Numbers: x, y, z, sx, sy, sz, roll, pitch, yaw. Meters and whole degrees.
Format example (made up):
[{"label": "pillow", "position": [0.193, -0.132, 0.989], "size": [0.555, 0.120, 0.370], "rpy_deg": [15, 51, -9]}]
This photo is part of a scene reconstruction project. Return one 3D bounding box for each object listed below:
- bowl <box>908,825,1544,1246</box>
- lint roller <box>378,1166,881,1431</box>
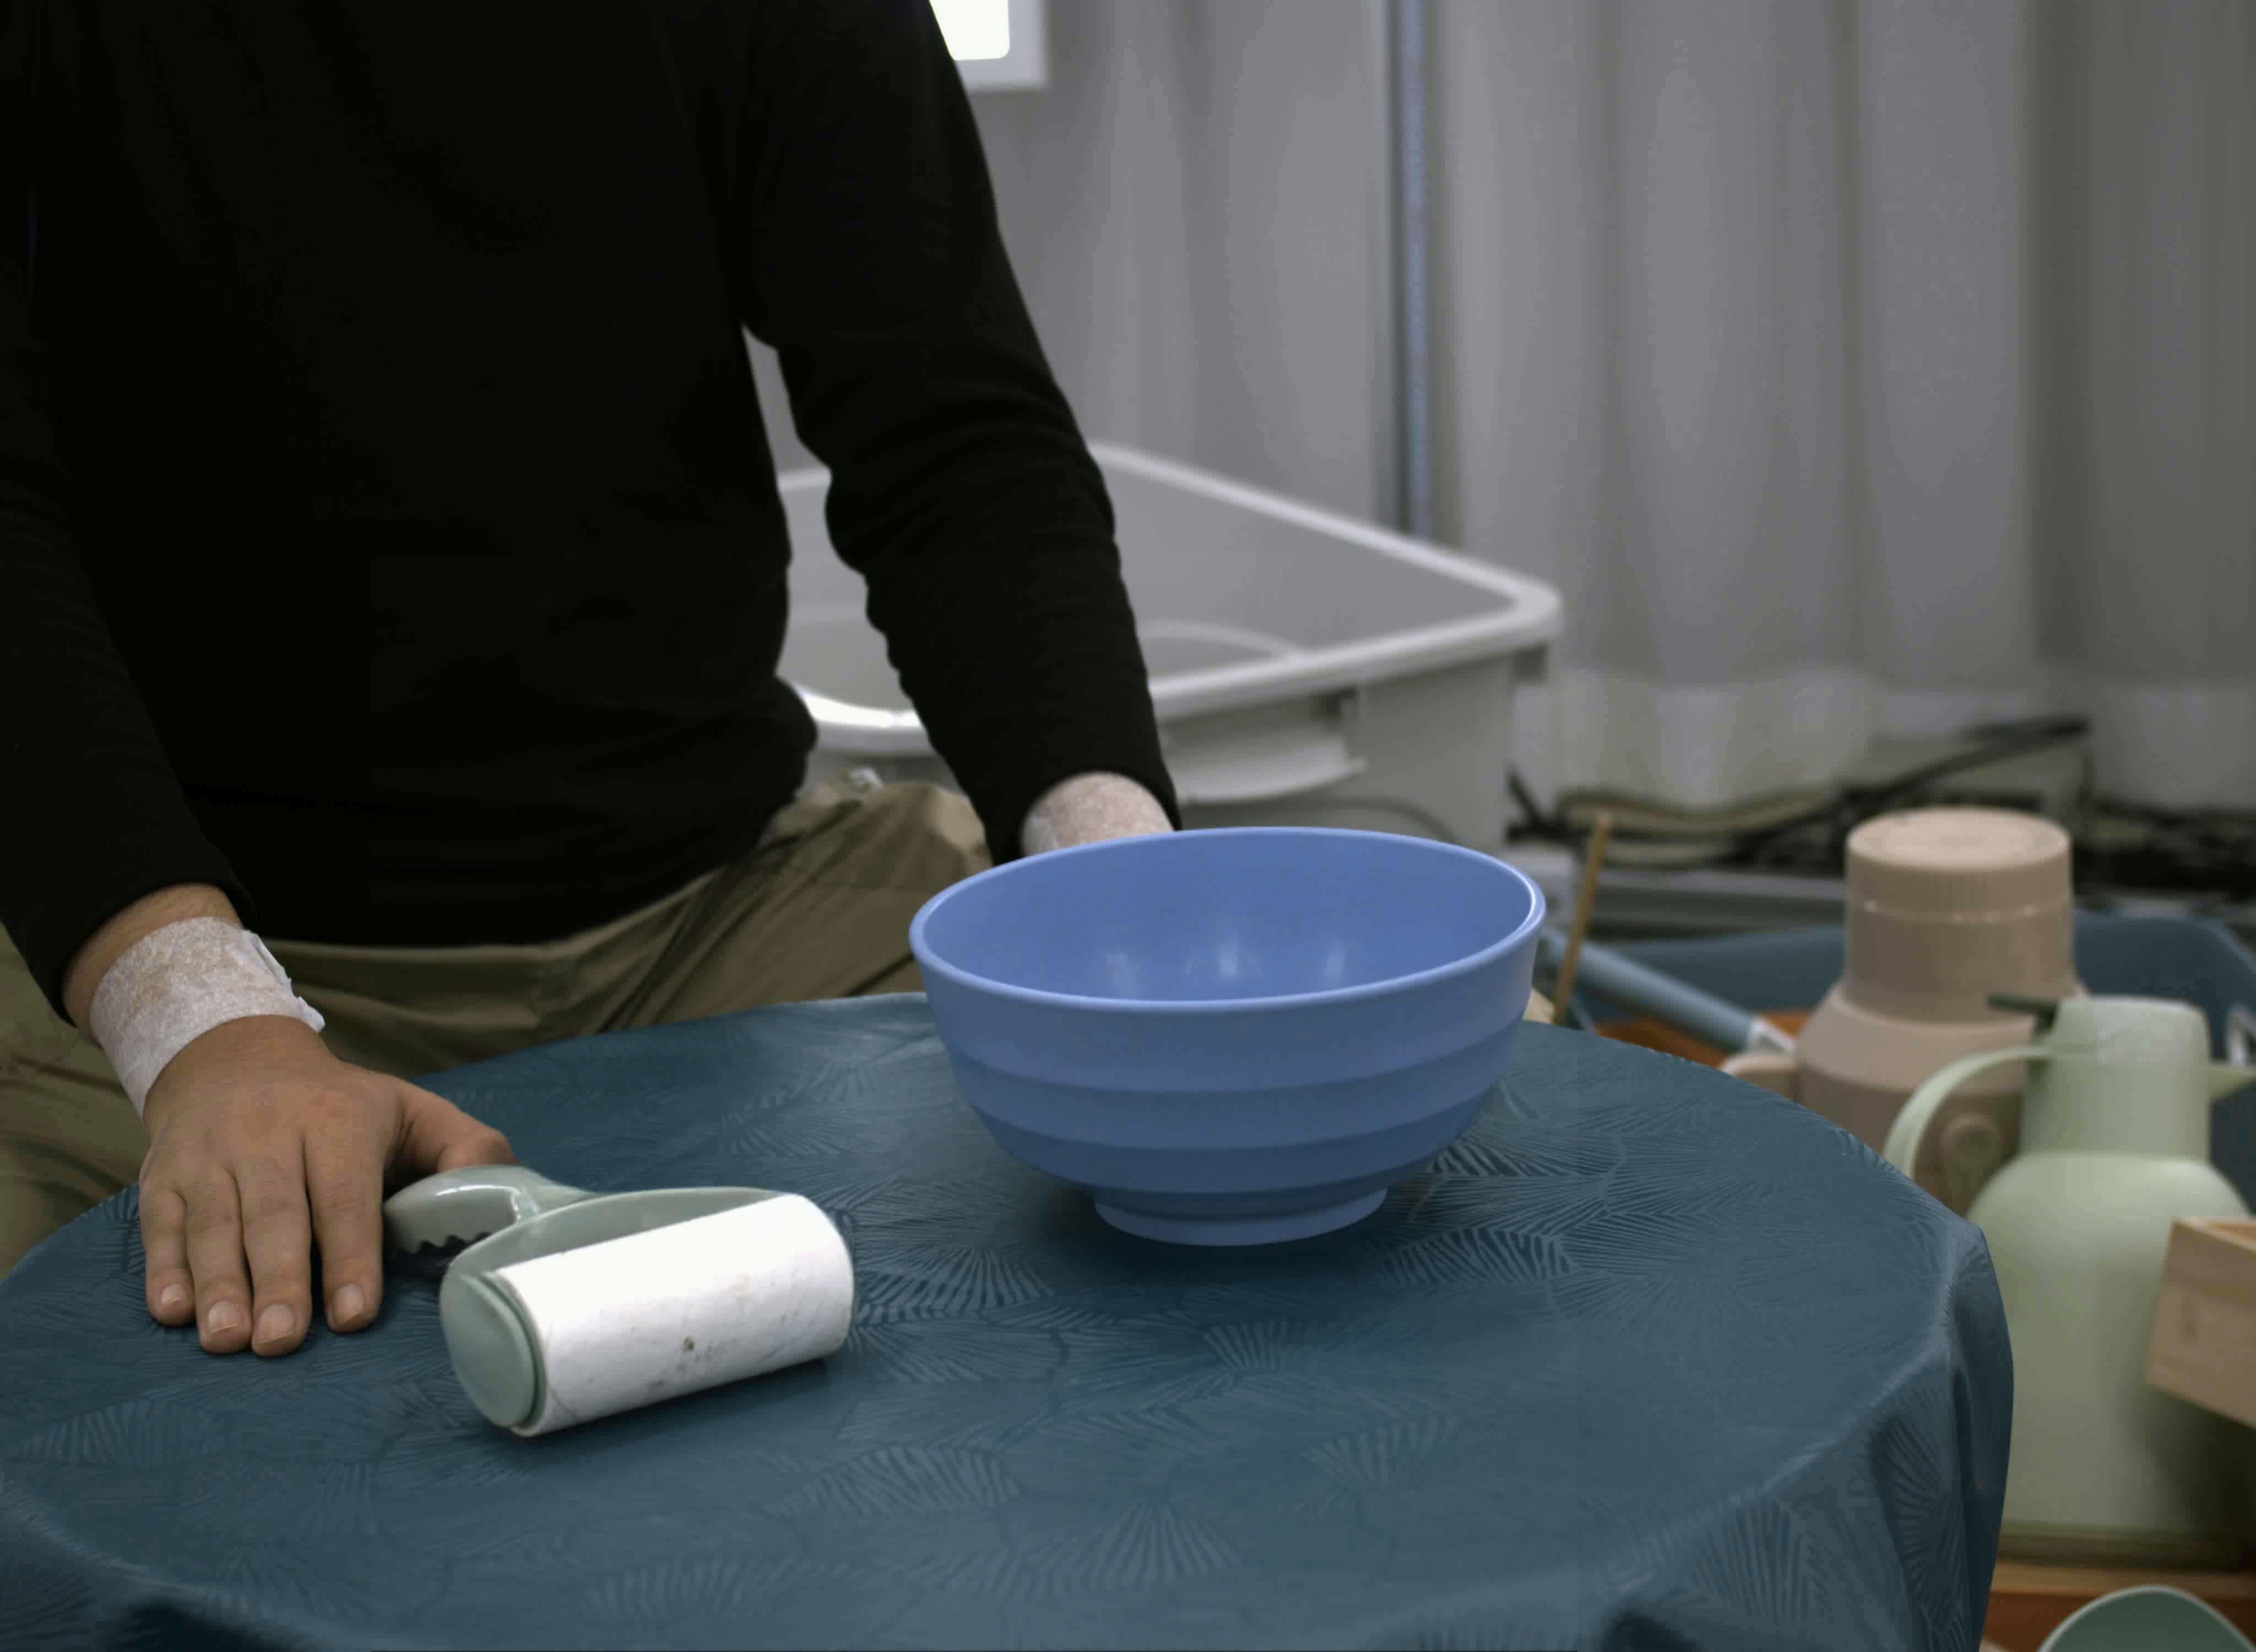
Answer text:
[{"label": "bowl", "position": [0.033, 0.070, 1.690], "size": [0.196, 0.095, 0.198], "rpy_deg": [-4, 15, 1]}, {"label": "lint roller", "position": [-0.167, 0.126, 1.619], "size": [0.116, 0.048, 0.199], "rpy_deg": [-15, 18, -32]}]
